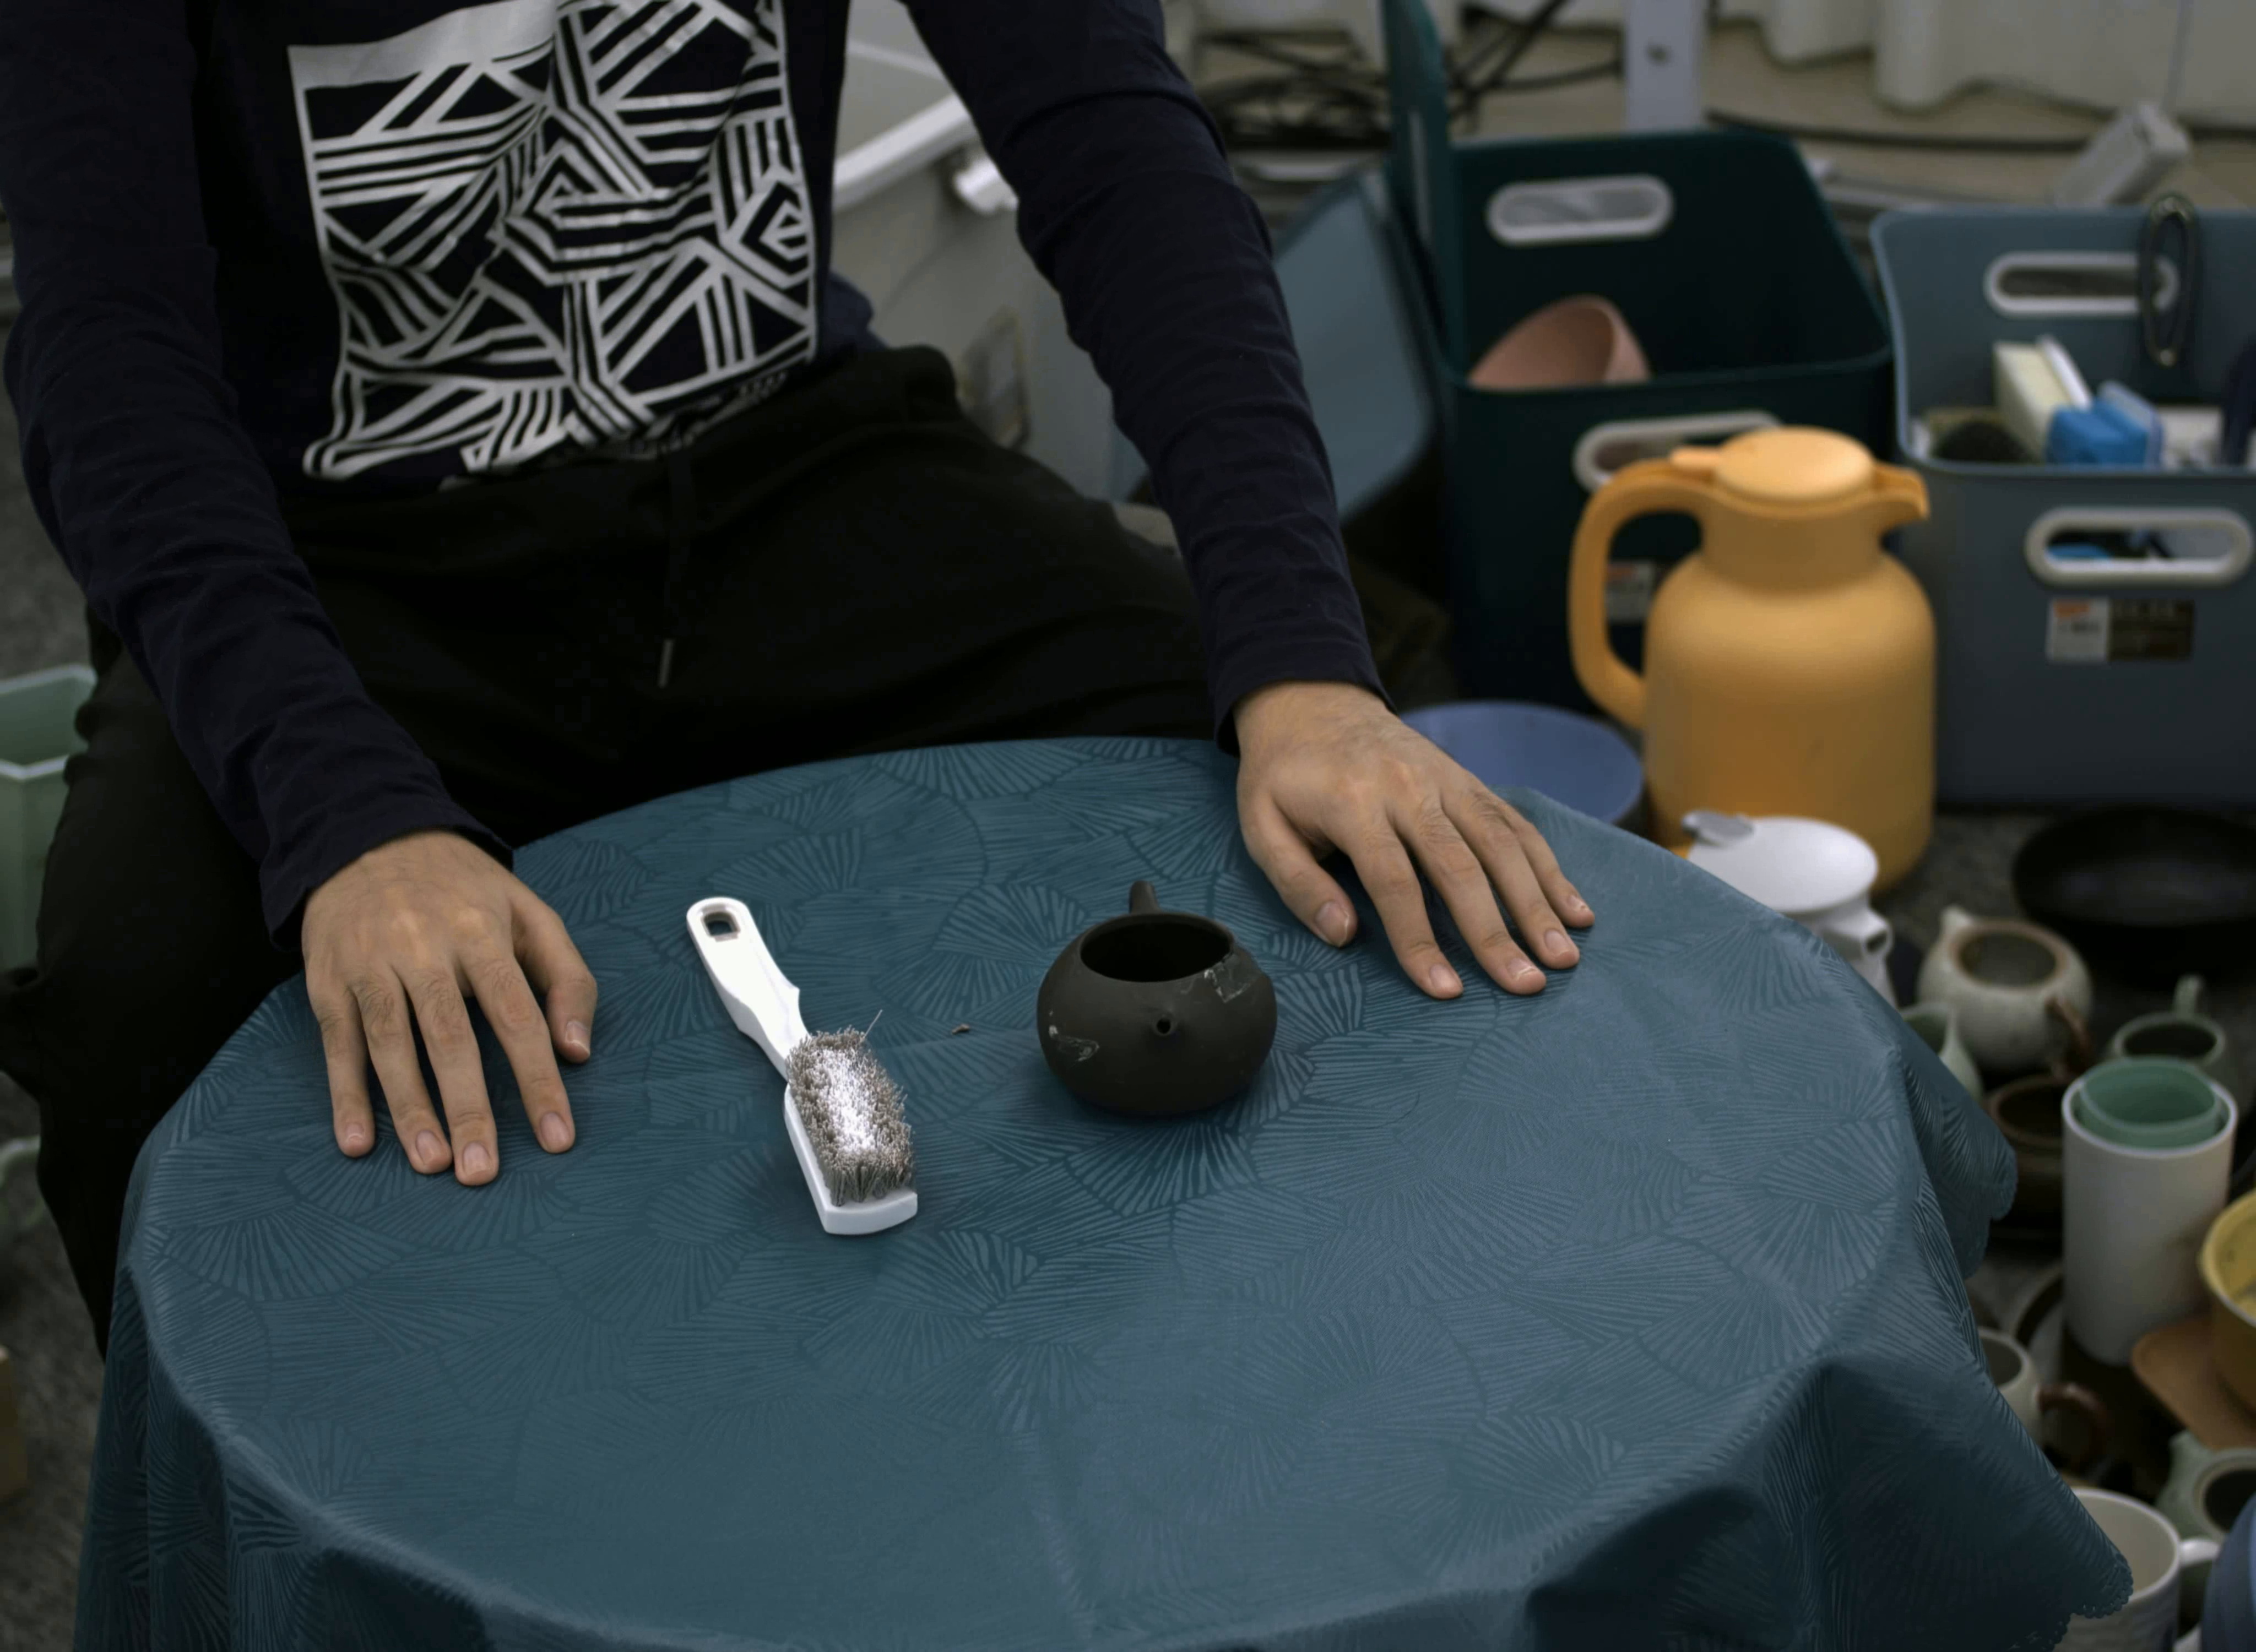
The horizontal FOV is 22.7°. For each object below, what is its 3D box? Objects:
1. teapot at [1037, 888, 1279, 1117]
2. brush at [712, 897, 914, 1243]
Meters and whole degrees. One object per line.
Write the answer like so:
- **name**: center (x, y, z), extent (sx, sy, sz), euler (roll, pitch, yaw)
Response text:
- **teapot**: center (0.009, 0.058, 1.926), extent (0.082, 0.052, 0.116), euler (-5, 27, -2)
- **brush**: center (-0.114, 0.066, 1.927), extent (0.034, 0.050, 0.246), euler (-12, 29, -9)
